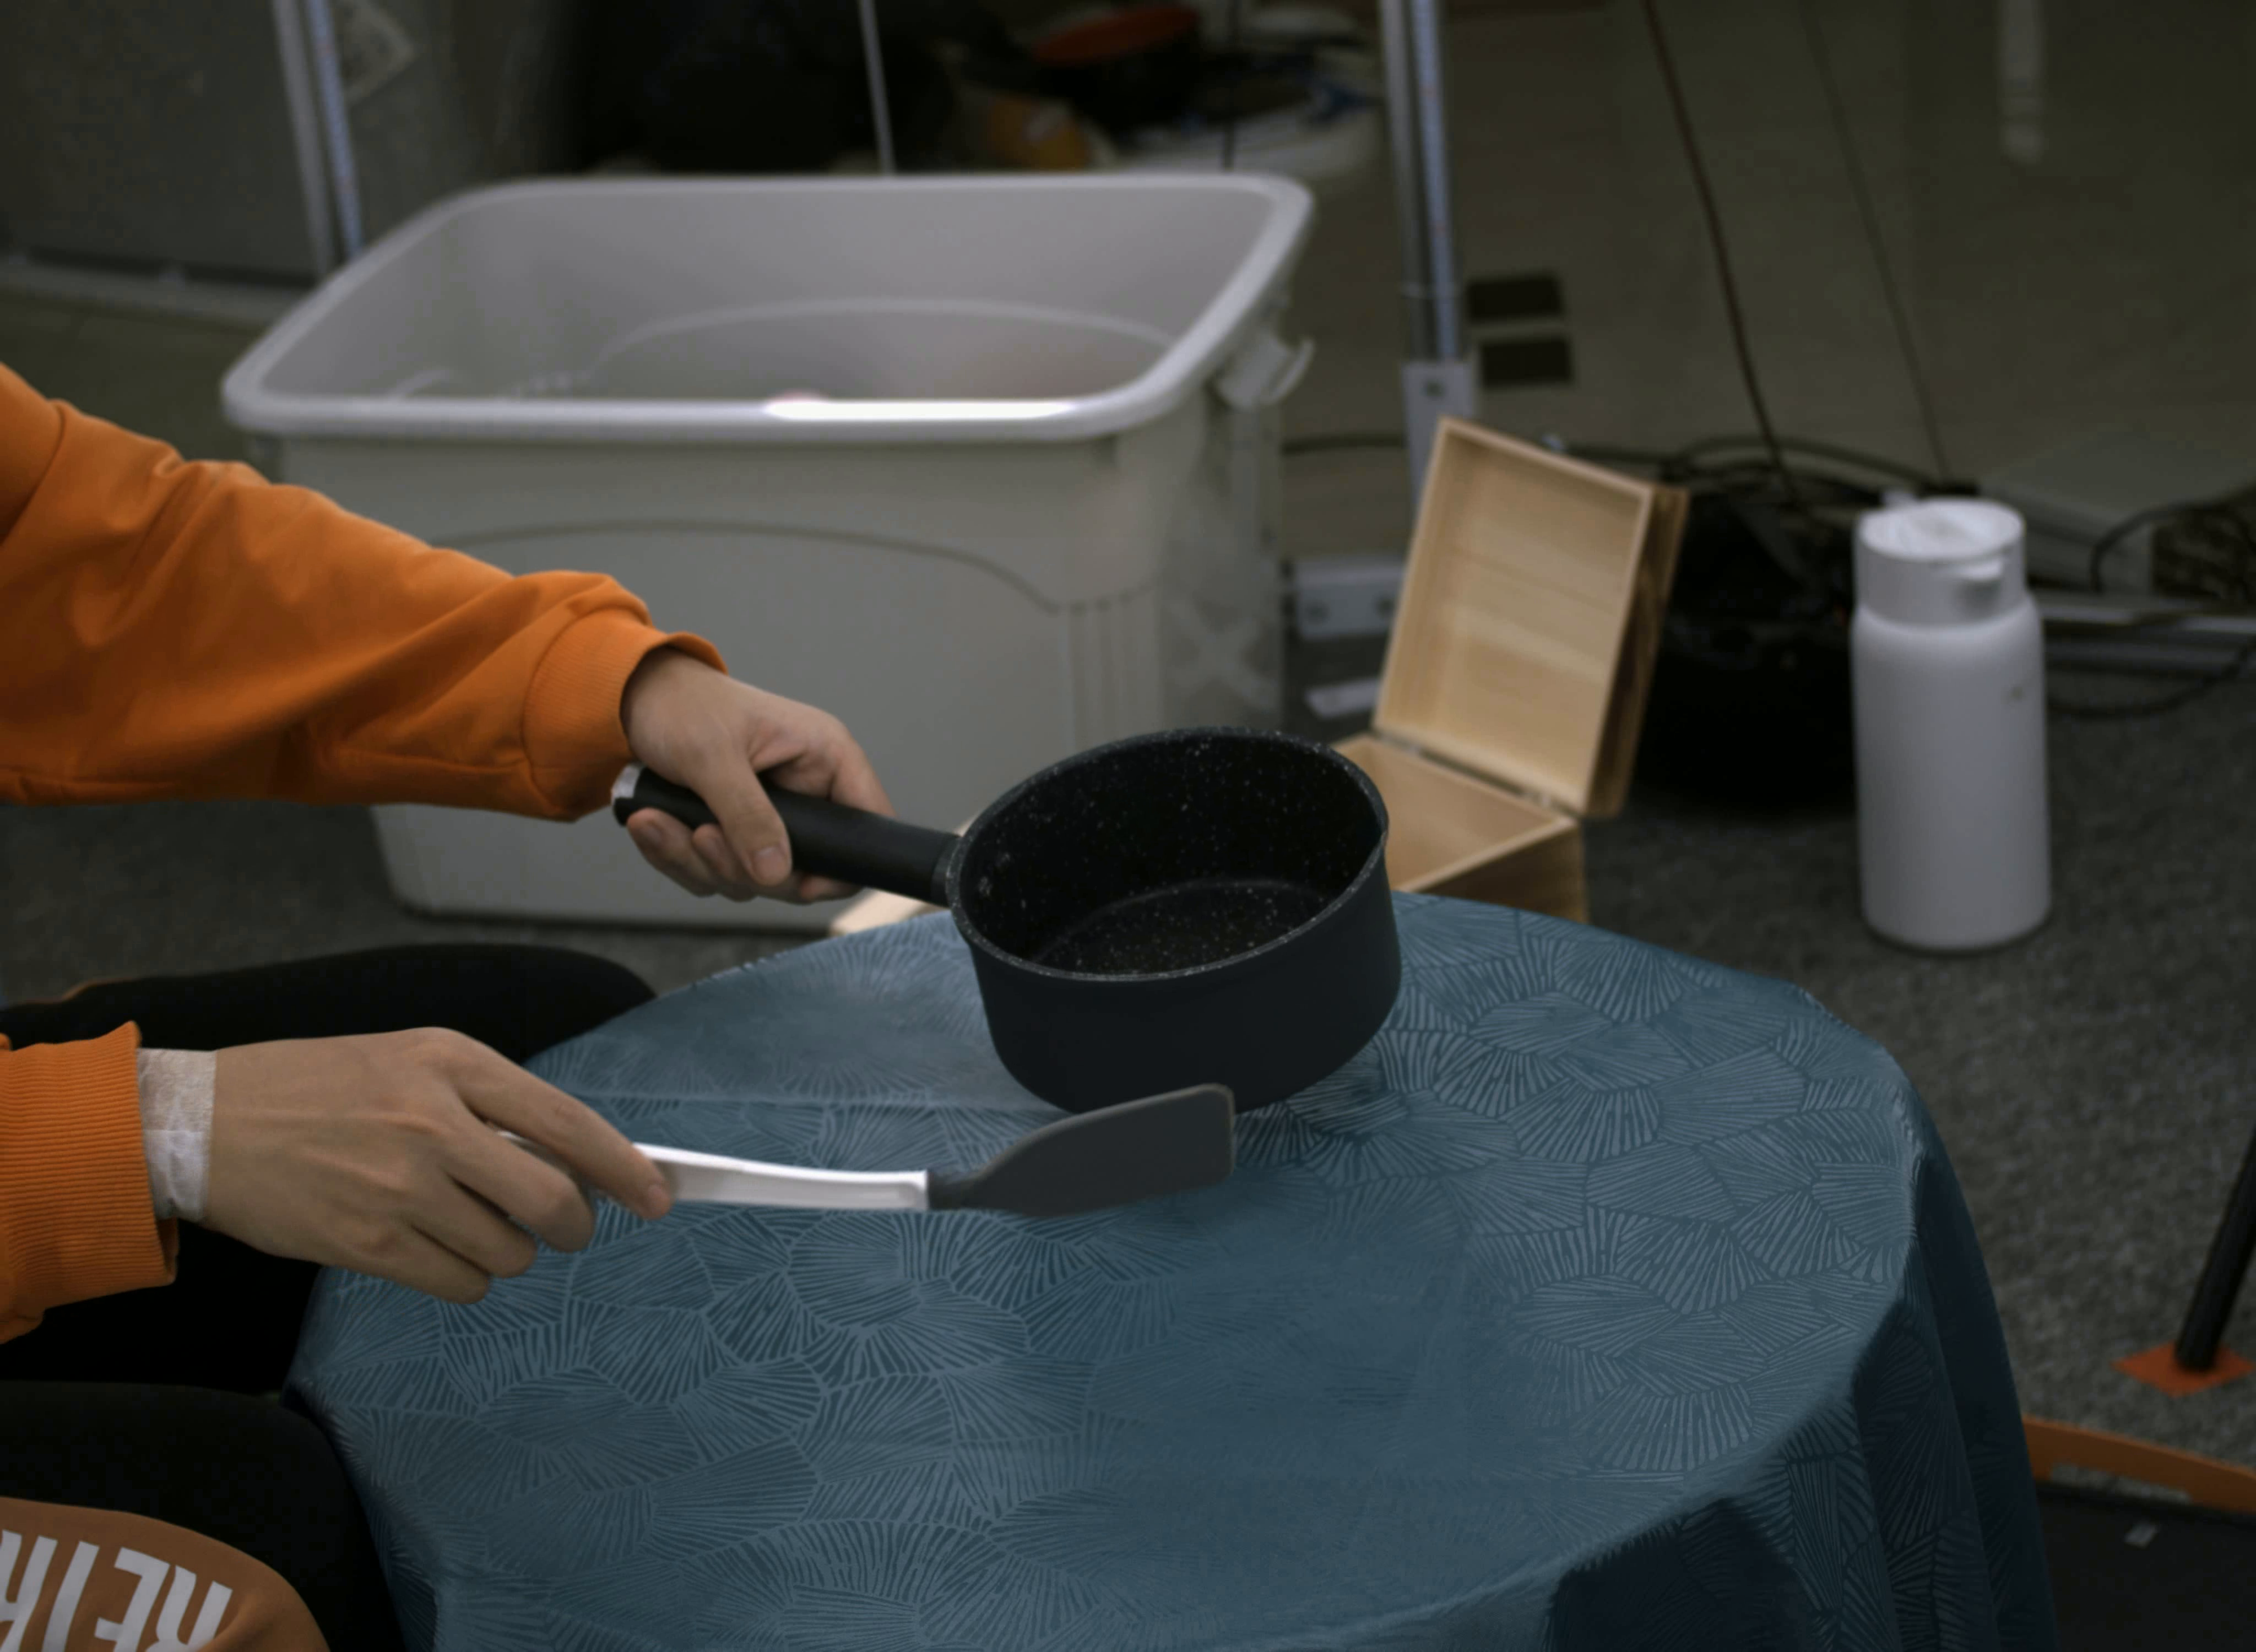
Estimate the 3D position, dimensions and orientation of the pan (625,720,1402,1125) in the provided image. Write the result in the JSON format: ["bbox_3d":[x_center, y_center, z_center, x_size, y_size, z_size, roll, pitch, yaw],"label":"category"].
[{"bbox_3d":[-0.050,0.026,2.221,0.327,0.088,0.169,9,38,27],"label":"pan"}]

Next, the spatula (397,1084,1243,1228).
[{"bbox_3d":[-0.104,0.117,1.929,0.287,0.060,0.031,-2,43,0],"label":"spatula"}]
